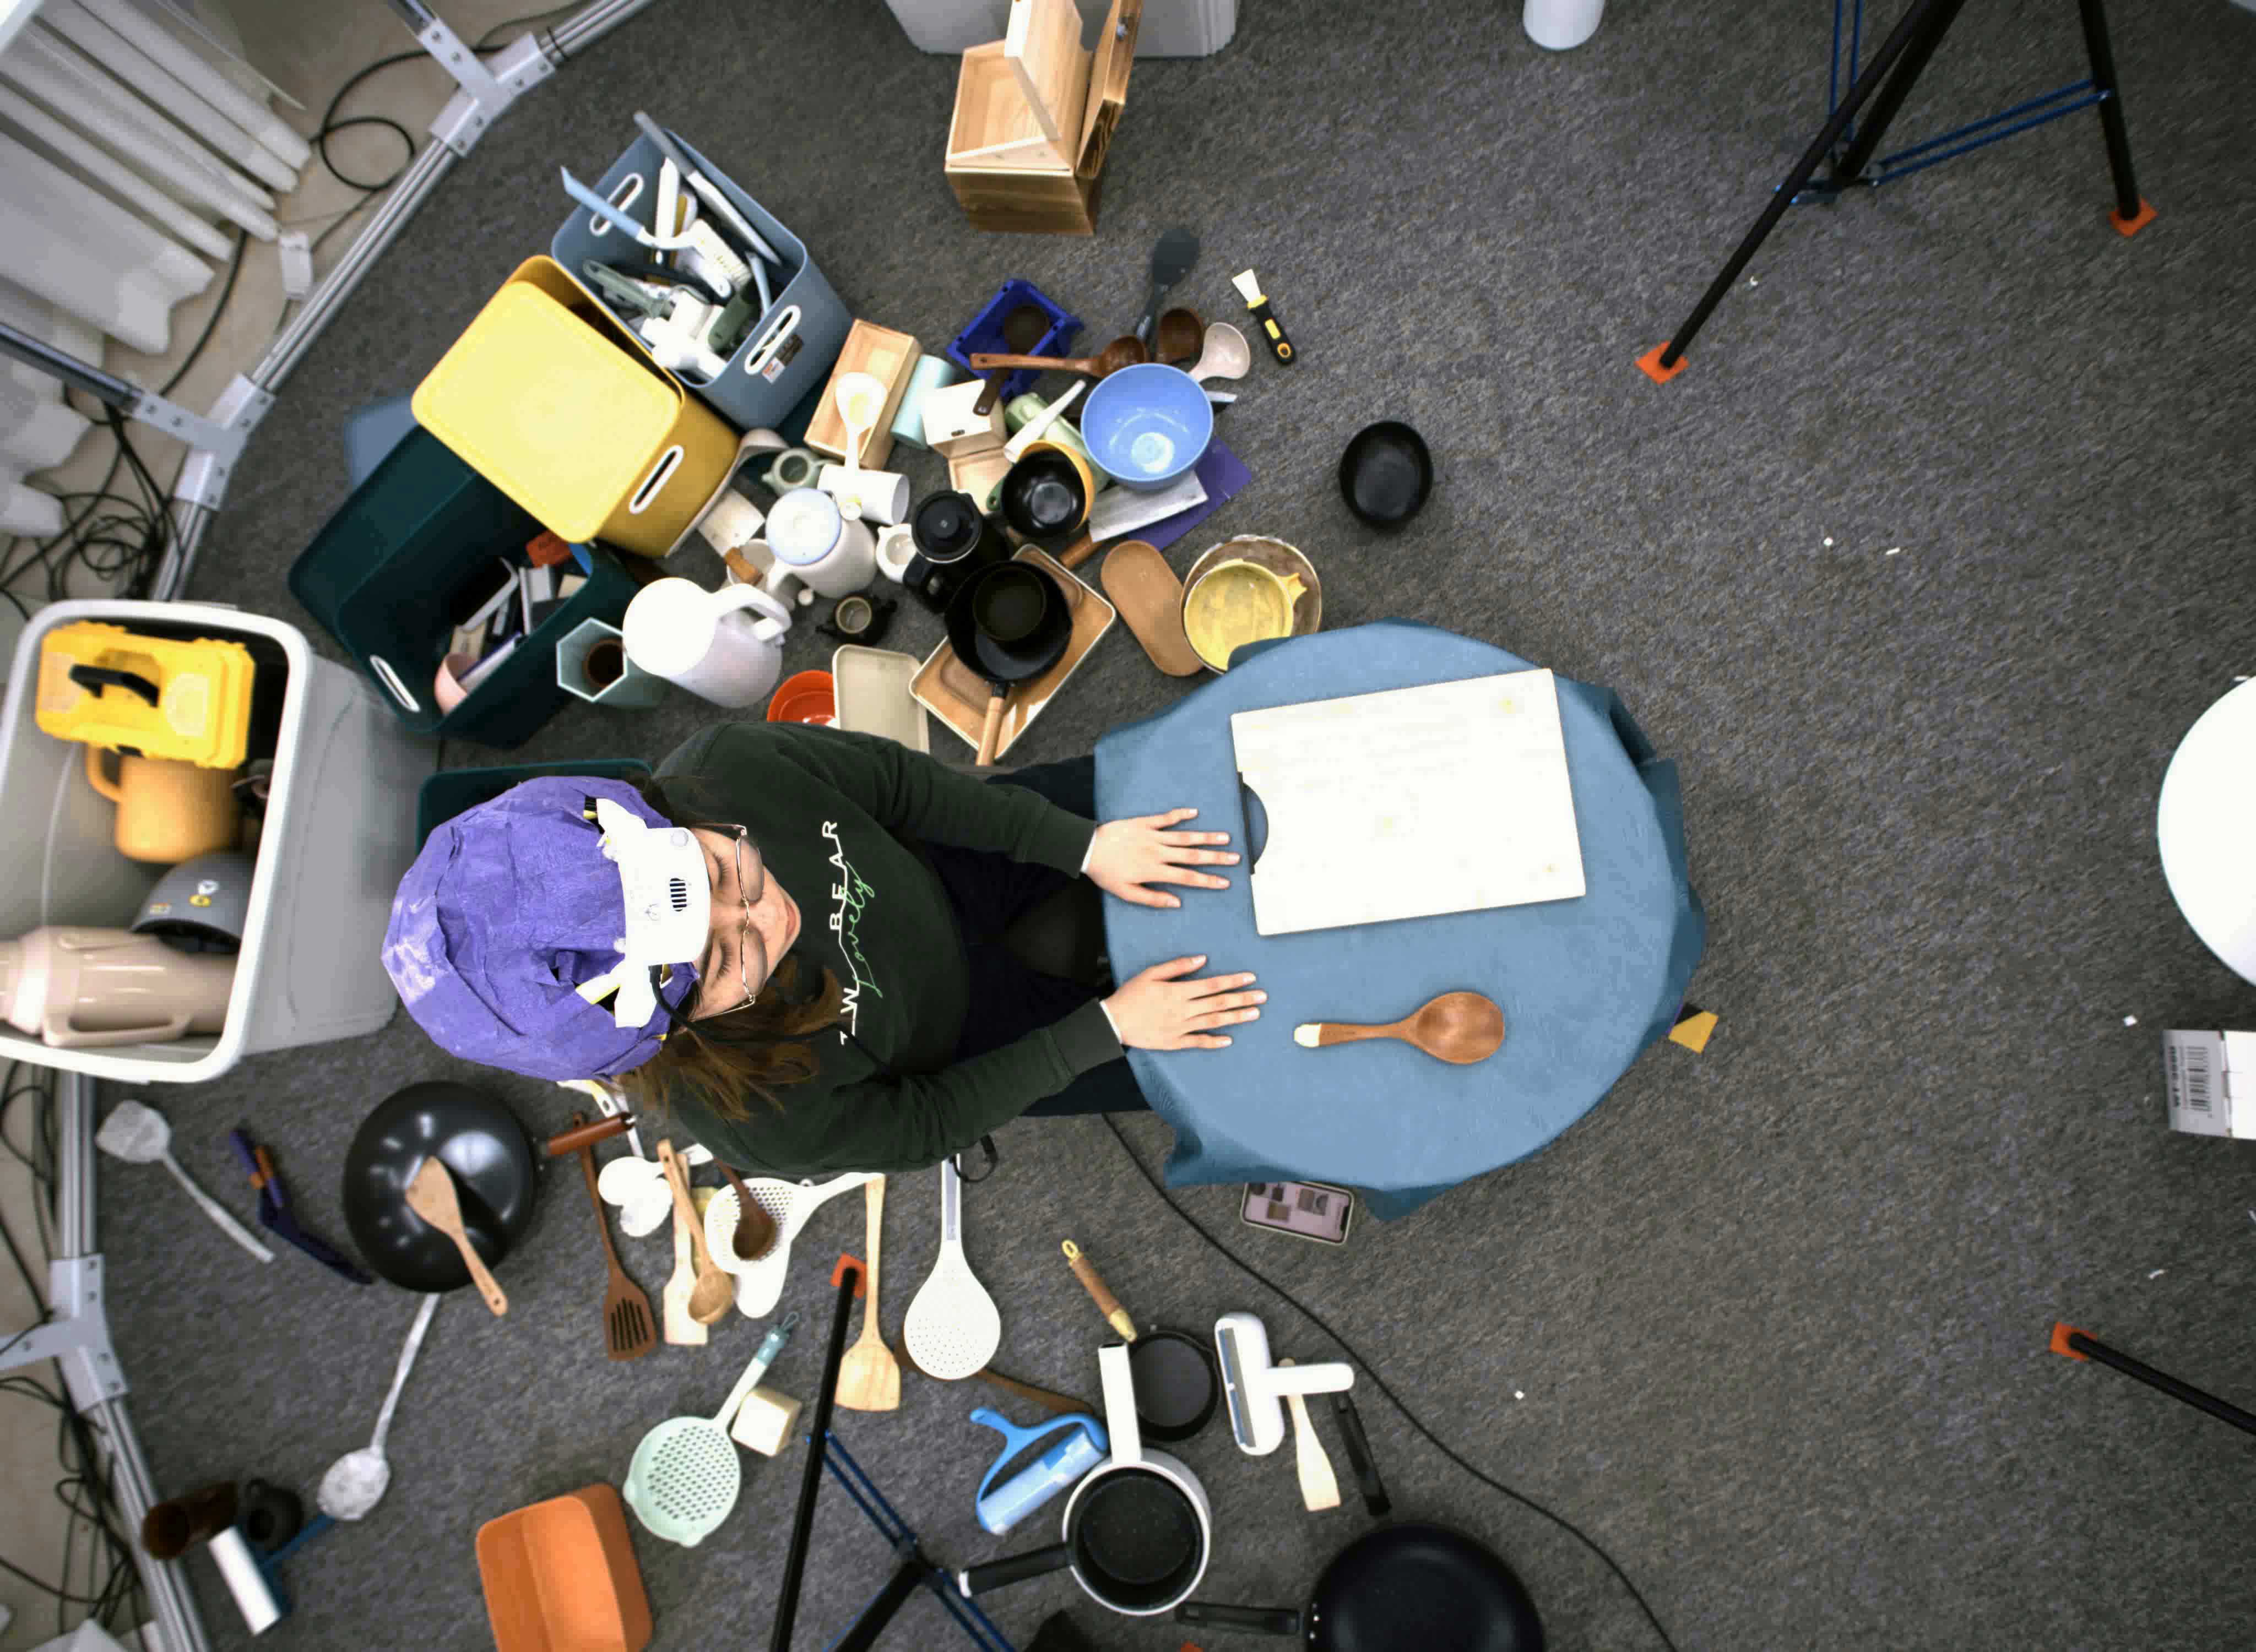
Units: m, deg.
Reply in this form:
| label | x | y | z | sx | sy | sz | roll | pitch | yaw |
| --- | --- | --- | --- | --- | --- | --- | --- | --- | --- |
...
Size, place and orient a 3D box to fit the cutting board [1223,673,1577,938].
| label | x | y | z | sx | sy | sz | roll | pitch | yaw |
| --- | --- | --- | --- | --- | --- | --- | --- | --- | --- |
| cutting board | 0.287 | -0.022 | 1.460 | 0.350 | 0.023 | 0.249 | -9 | 84 | 10 |

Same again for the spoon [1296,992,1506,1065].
| label | x | y | z | sx | sy | sz | roll | pitch | yaw |
| --- | --- | --- | --- | --- | --- | --- | --- | --- | --- |
| spoon | 0.284 | 0.213 | 1.443 | 0.217 | 0.017 | 0.075 | -5 | 87 | 9 |
